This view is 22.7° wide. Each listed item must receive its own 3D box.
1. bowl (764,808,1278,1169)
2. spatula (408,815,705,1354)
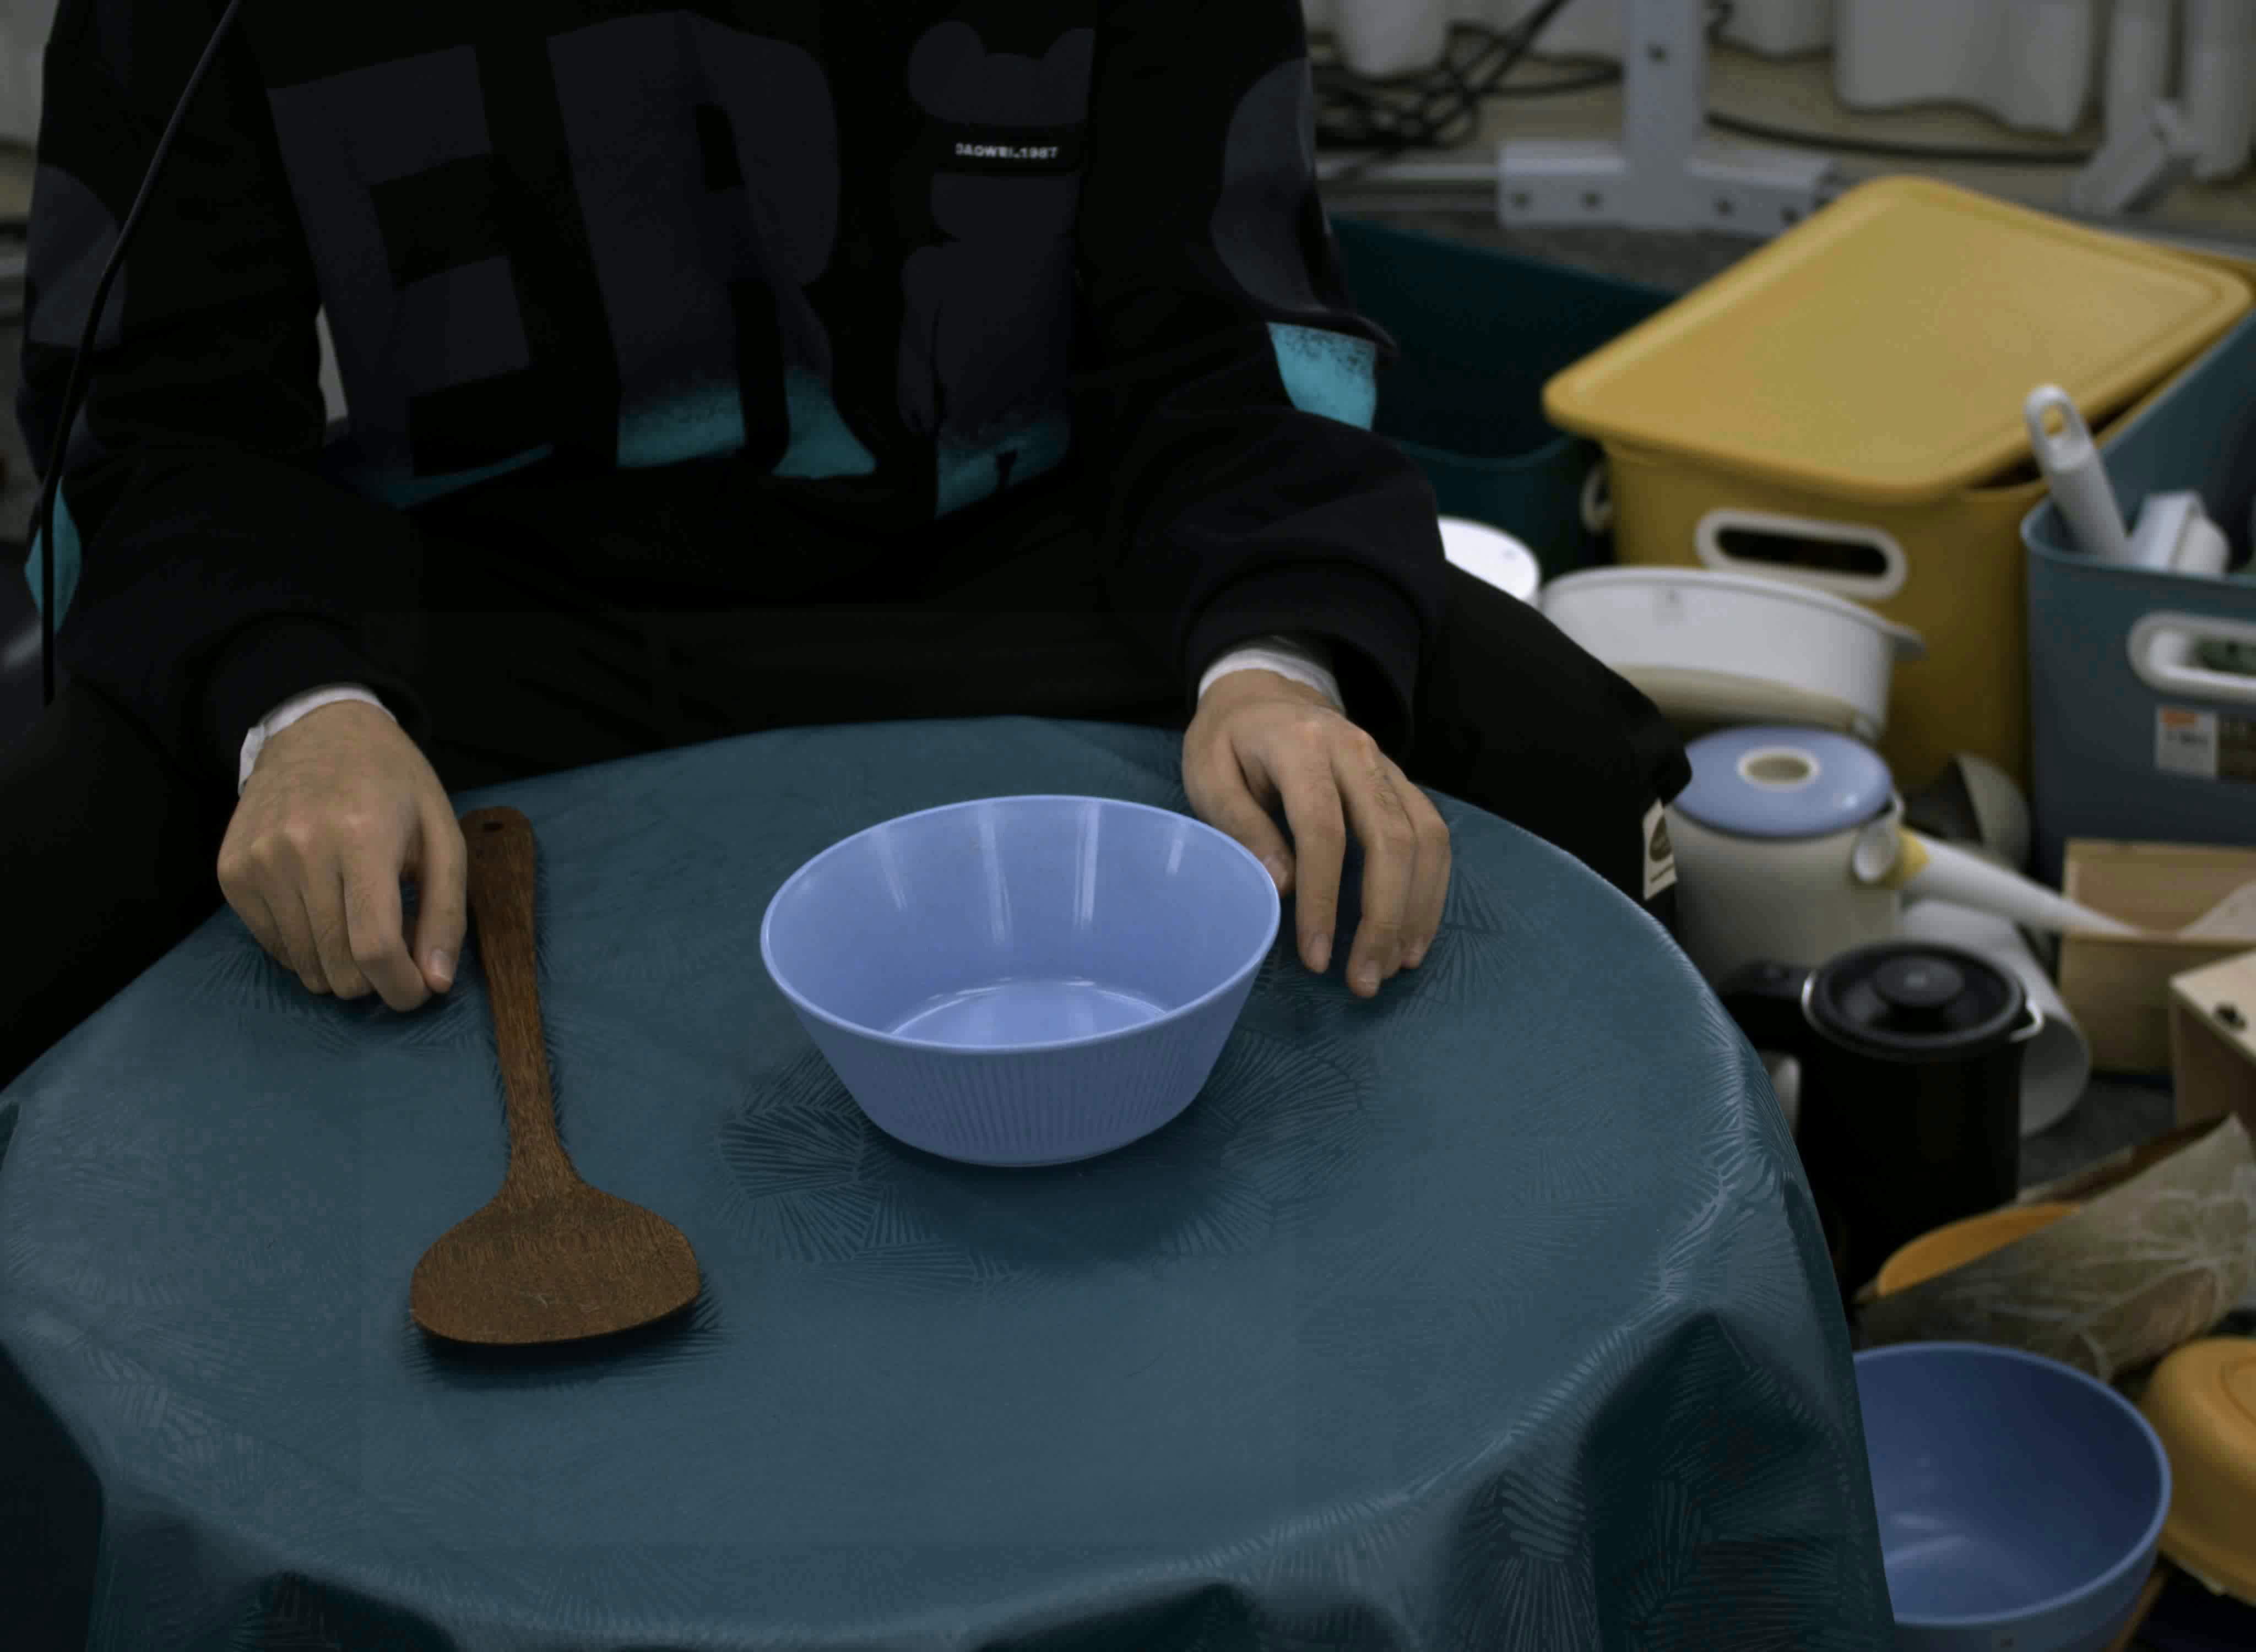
[{"bbox_3d":[-0.035,0.061,1.908,0.175,0.069,0.178,-2,26,1],"label":"bowl"},{"bbox_3d":[-0.210,0.081,1.946,0.096,0.015,0.391,-6,27,-7],"label":"spatula"}]
